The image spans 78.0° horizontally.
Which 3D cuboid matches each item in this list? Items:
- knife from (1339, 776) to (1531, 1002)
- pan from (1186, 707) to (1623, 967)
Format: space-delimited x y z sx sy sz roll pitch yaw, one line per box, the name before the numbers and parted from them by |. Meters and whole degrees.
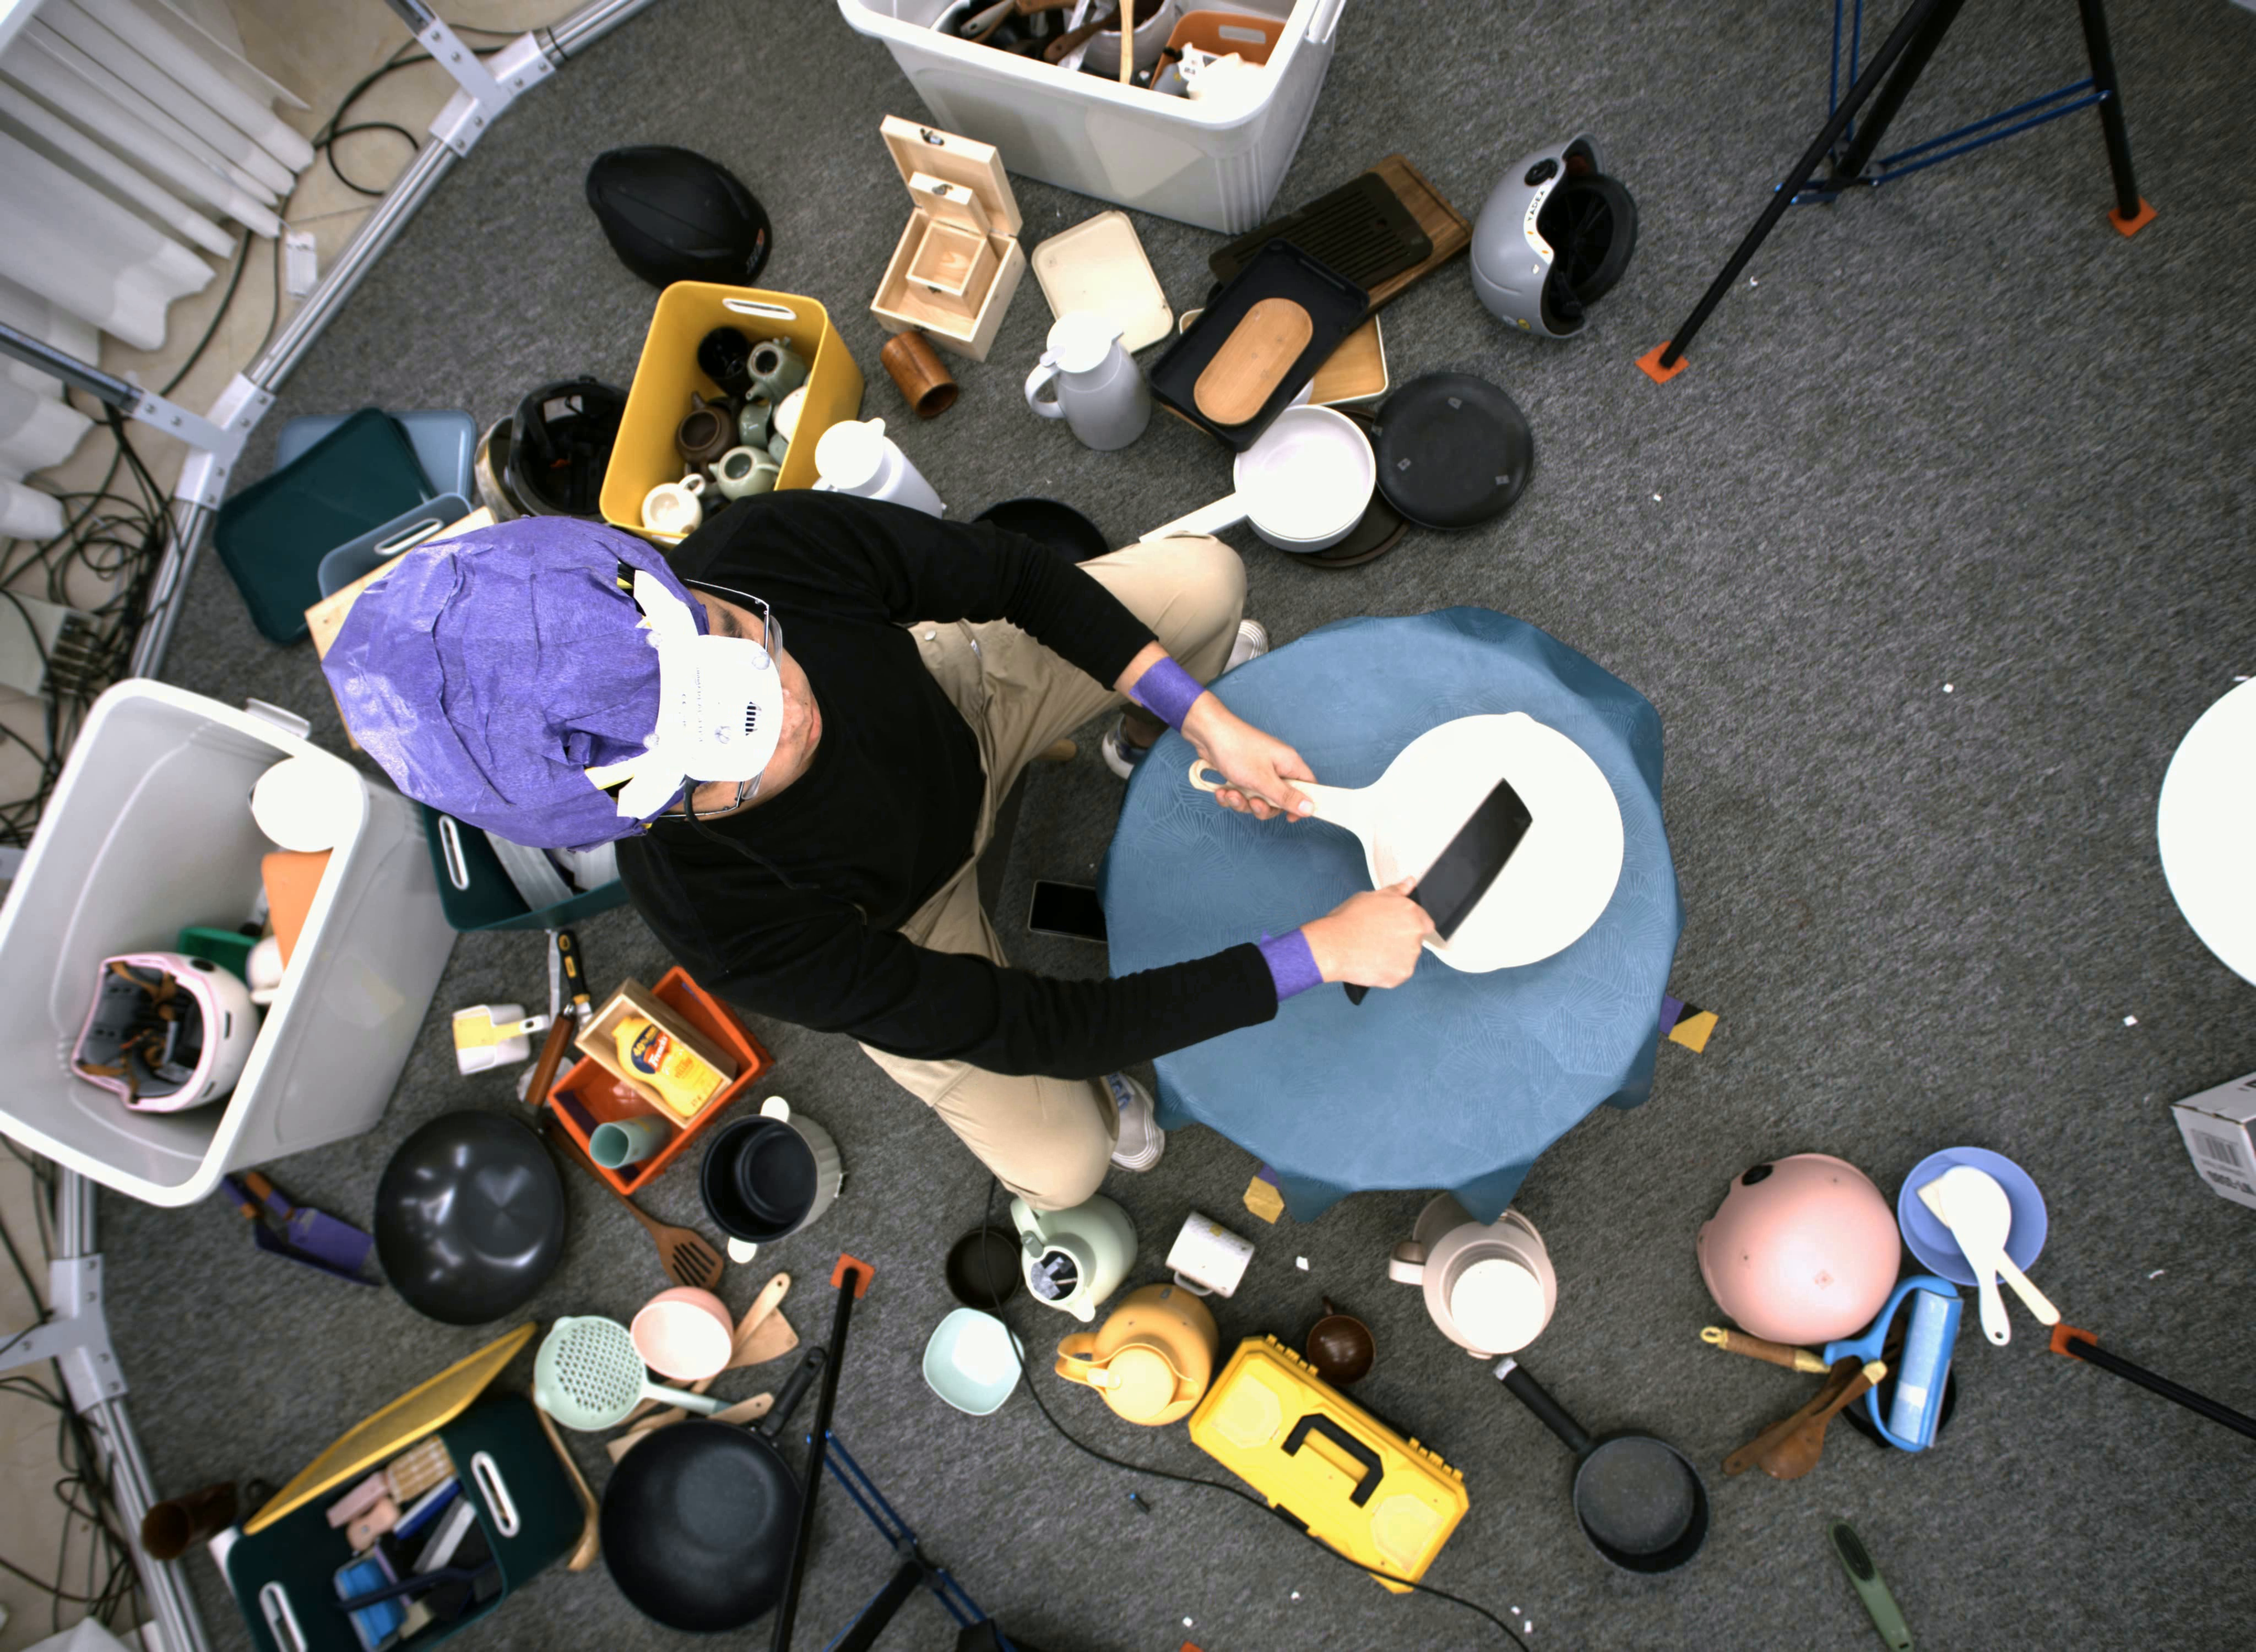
knife | 0.308 0.064 1.369 0.297 0.021 0.081 -42 105 -23
pan | 0.278 -0.008 1.410 0.435 0.102 0.263 12 91 10
